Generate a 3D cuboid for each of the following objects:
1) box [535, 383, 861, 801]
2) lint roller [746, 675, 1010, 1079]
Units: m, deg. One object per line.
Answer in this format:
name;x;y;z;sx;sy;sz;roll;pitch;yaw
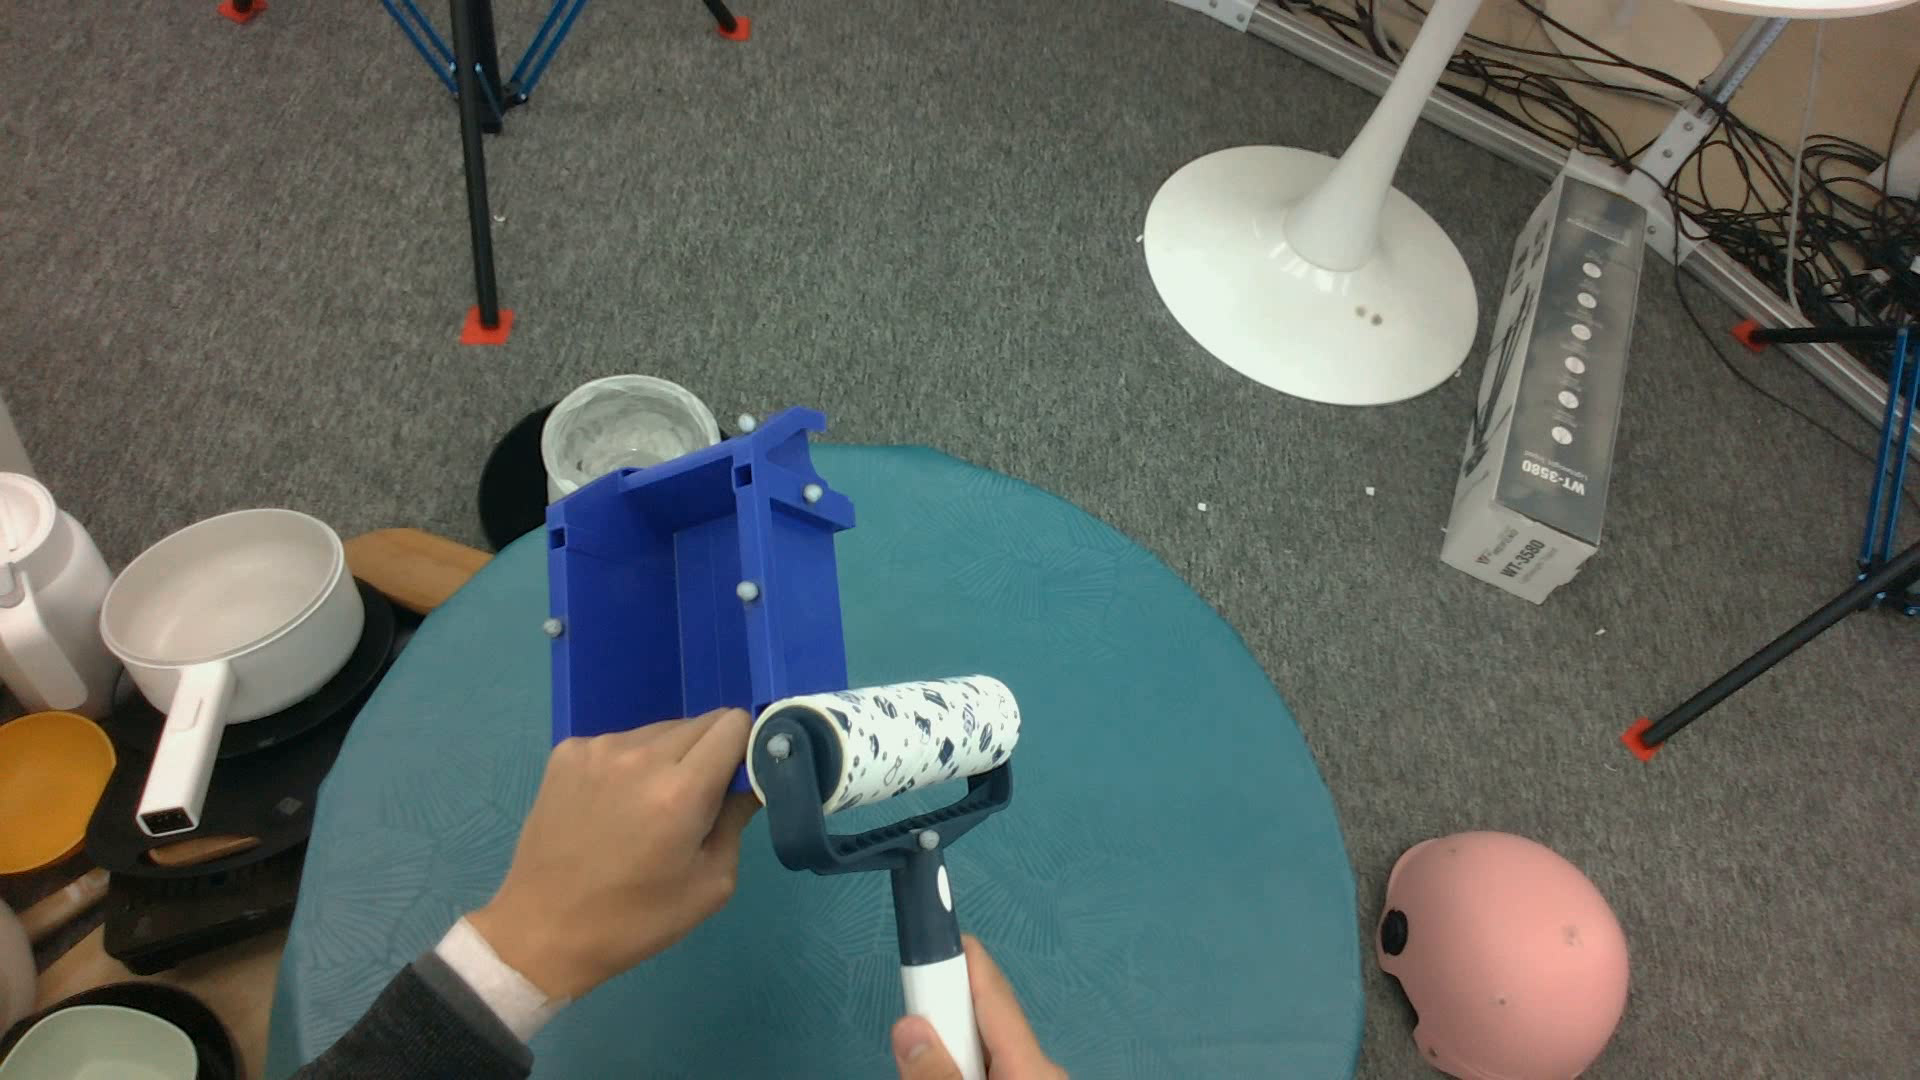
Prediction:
box;-0.124;0.023;0.638;0.124;0.082;0.180;-15;74;24
lint roller;-0.009;0.181;0.579;0.050;0.176;0.247;-16;82;23
